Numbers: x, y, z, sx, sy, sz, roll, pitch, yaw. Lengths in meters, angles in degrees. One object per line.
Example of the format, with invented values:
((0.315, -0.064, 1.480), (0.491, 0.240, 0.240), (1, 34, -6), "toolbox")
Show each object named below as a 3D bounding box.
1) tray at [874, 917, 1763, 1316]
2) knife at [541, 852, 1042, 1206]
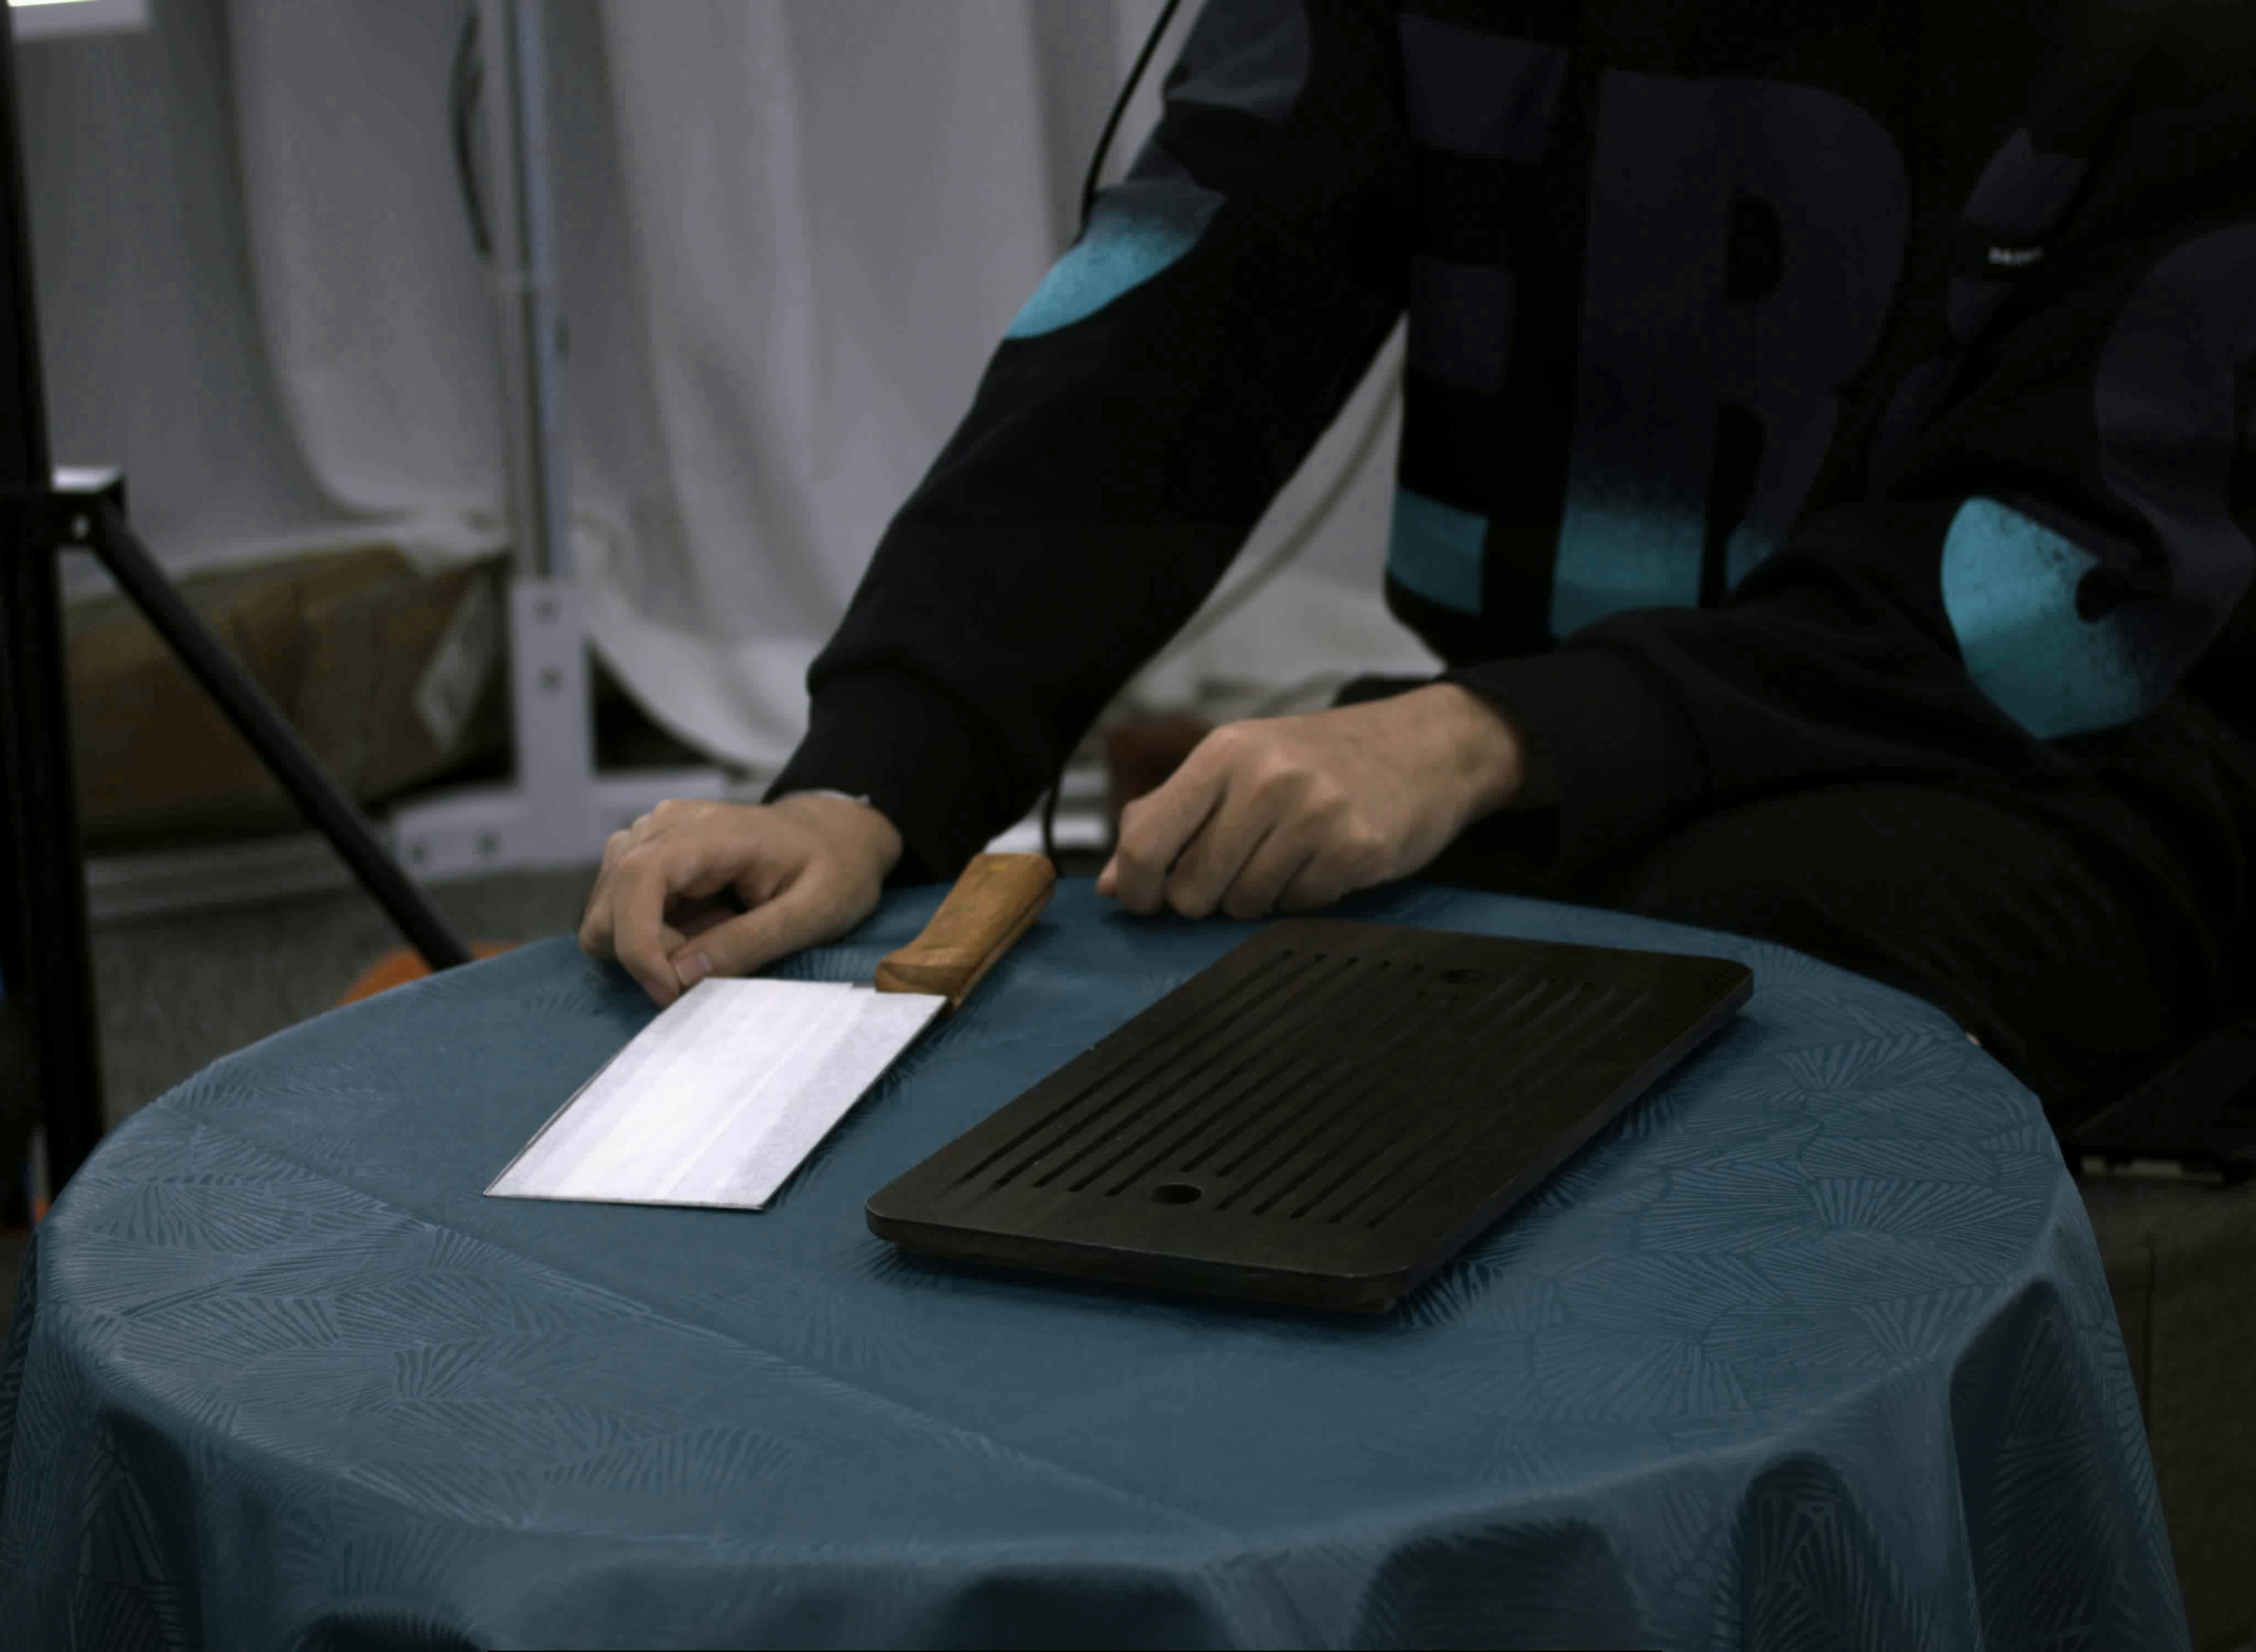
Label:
((0.065, 0.084, 1.597), (0.173, 0.018, 0.301), (5, 18, 27), "tray")
((-0.106, 0.064, 1.706), (0.094, 0.021, 0.303), (1, 18, 17), "knife")
